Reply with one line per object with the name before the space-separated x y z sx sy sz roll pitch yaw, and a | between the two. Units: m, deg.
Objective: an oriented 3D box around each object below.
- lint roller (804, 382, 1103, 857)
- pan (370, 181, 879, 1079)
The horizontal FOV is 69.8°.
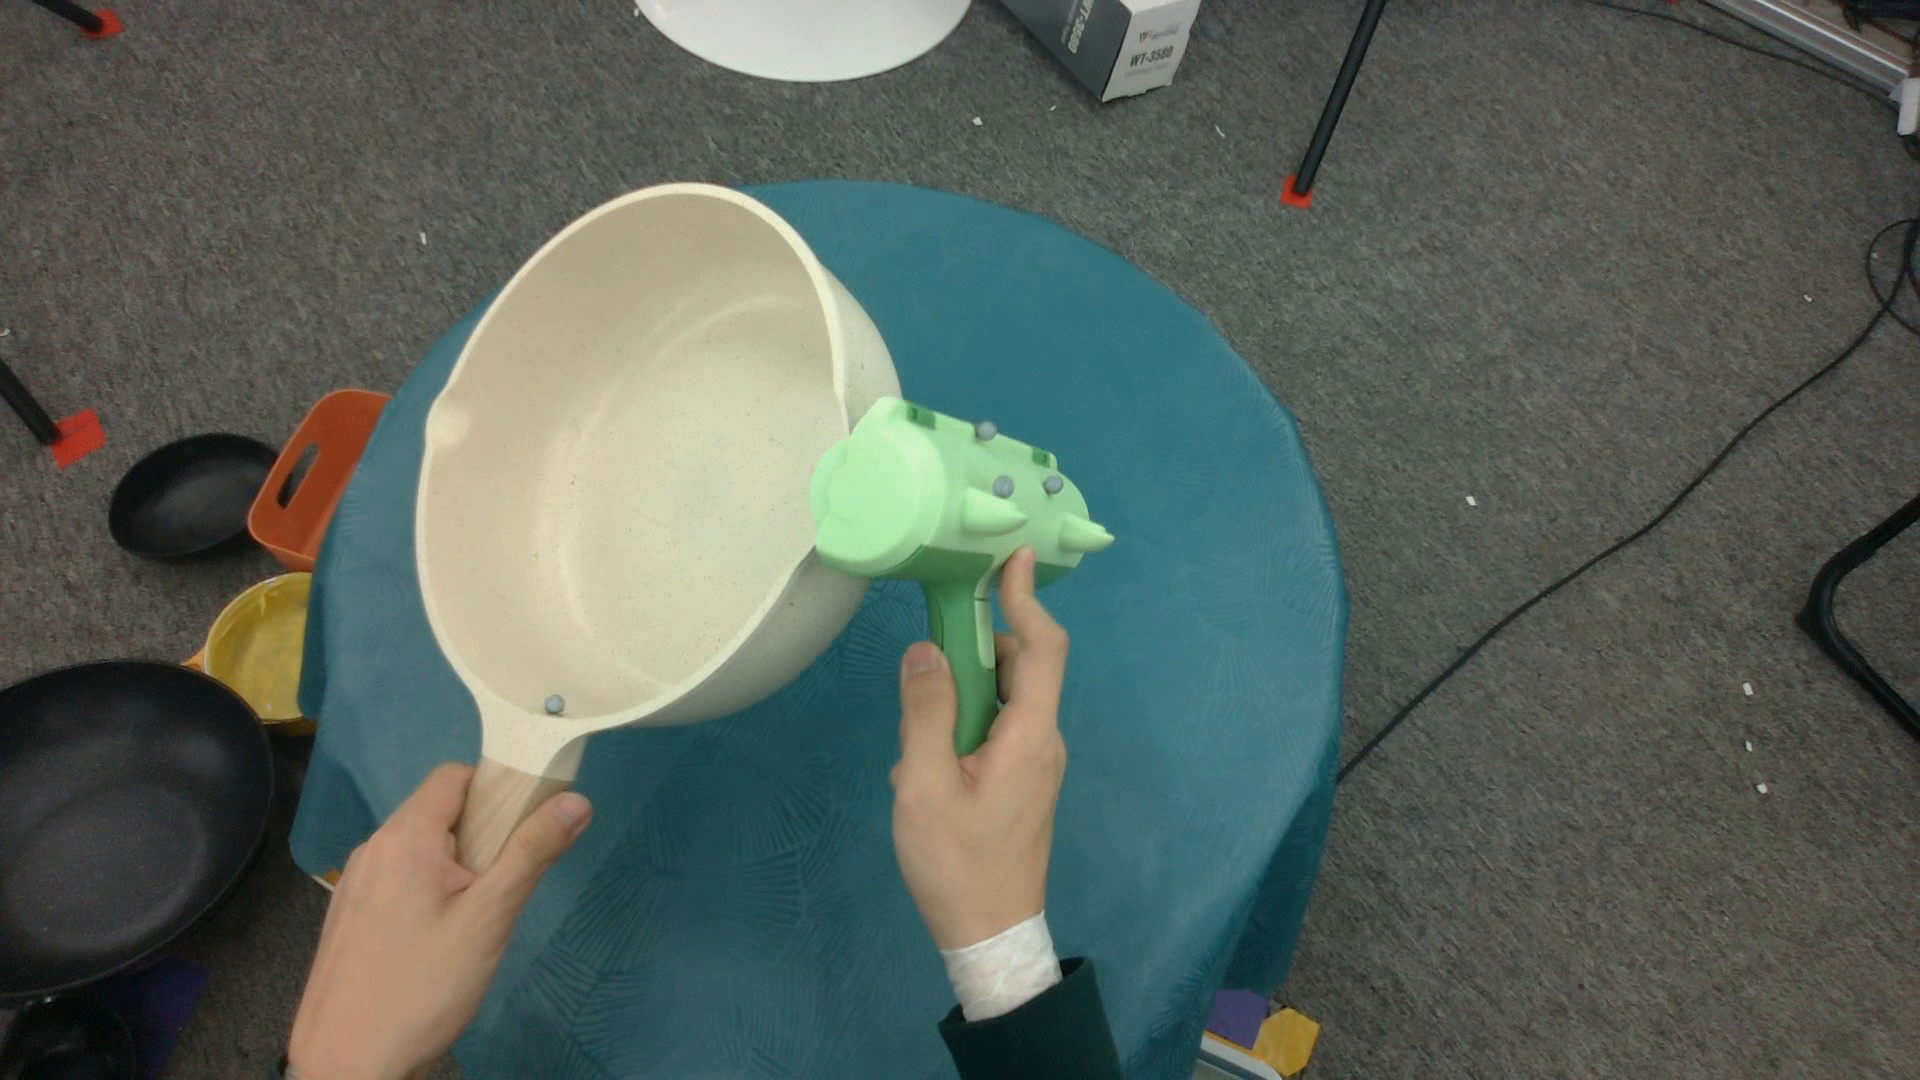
lint roller | 0.012 0.037 0.576 0.082 0.199 0.183 -10 83 20
pan | -0.170 0.054 0.624 0.263 0.102 0.435 9 81 30
